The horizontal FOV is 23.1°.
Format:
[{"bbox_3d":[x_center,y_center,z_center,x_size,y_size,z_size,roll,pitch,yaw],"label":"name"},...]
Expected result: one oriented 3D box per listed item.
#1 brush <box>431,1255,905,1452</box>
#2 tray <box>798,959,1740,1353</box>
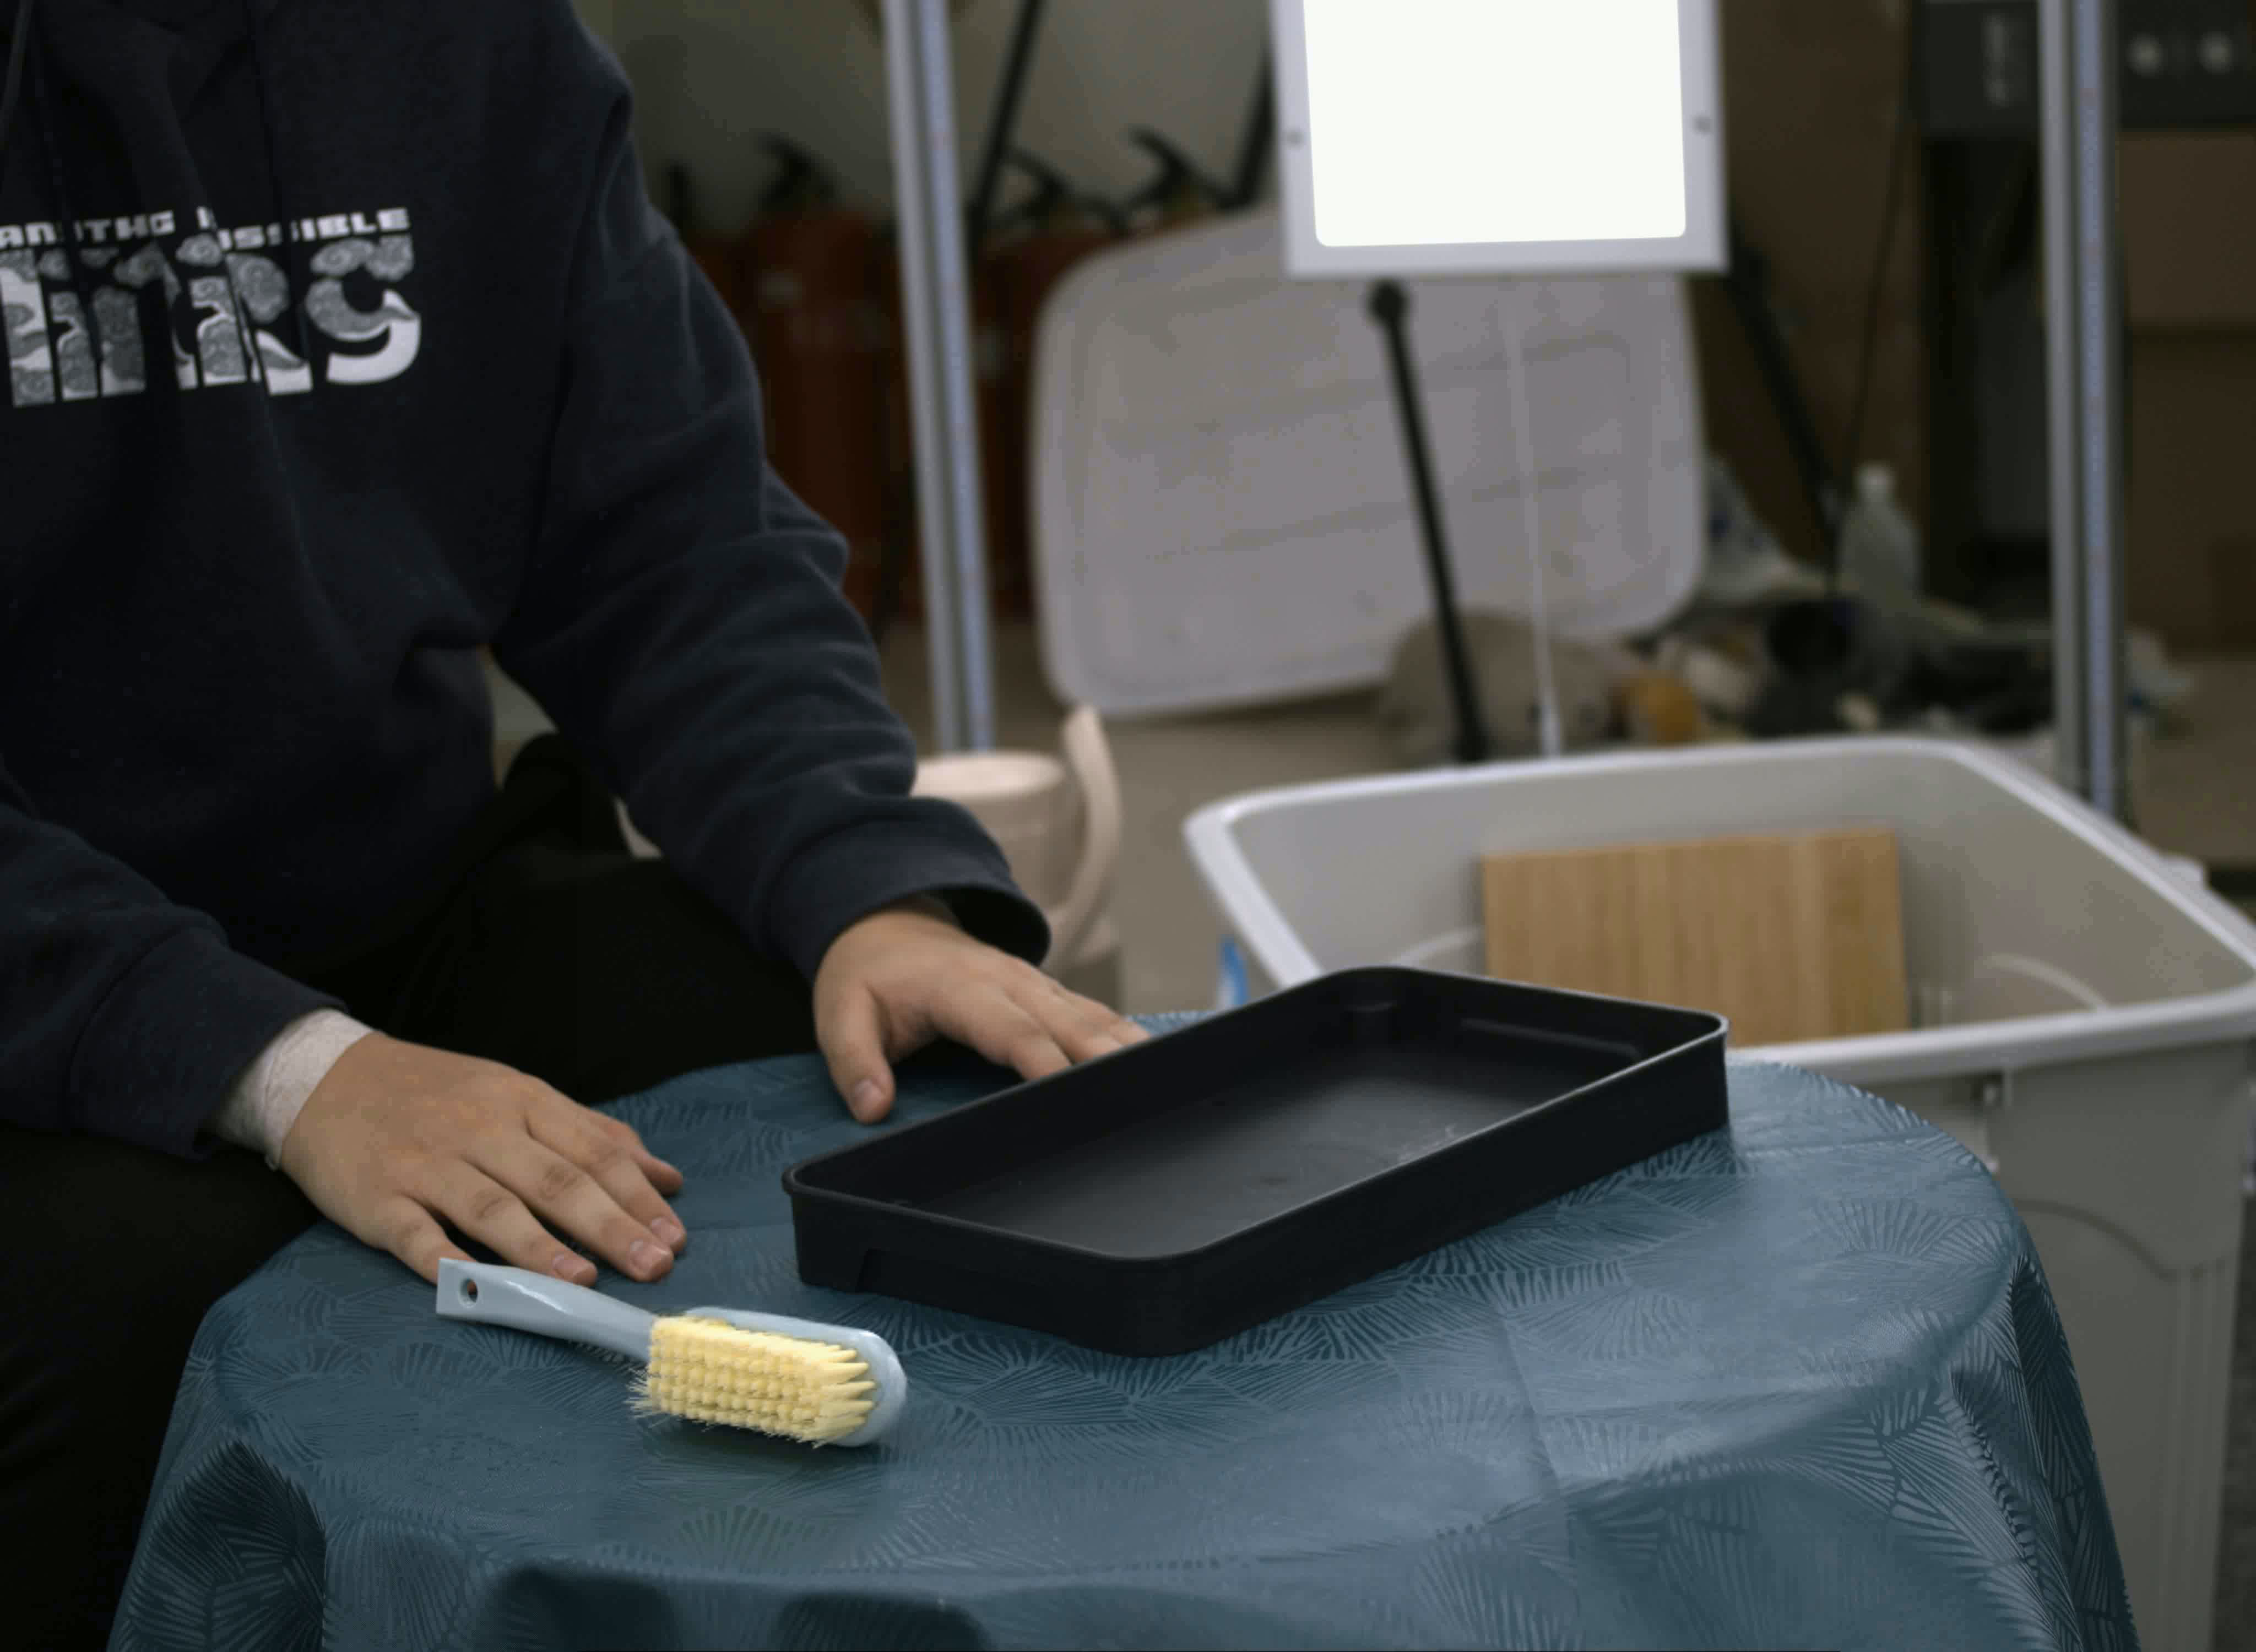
[{"bbox_3d":[-0.157,0.161,1.734,0.048,0.038,0.233,-1,7,-40],"label":"brush"},{"bbox_3d":[0.054,0.107,1.883,0.188,0.037,0.310,7,18,42],"label":"tray"}]
